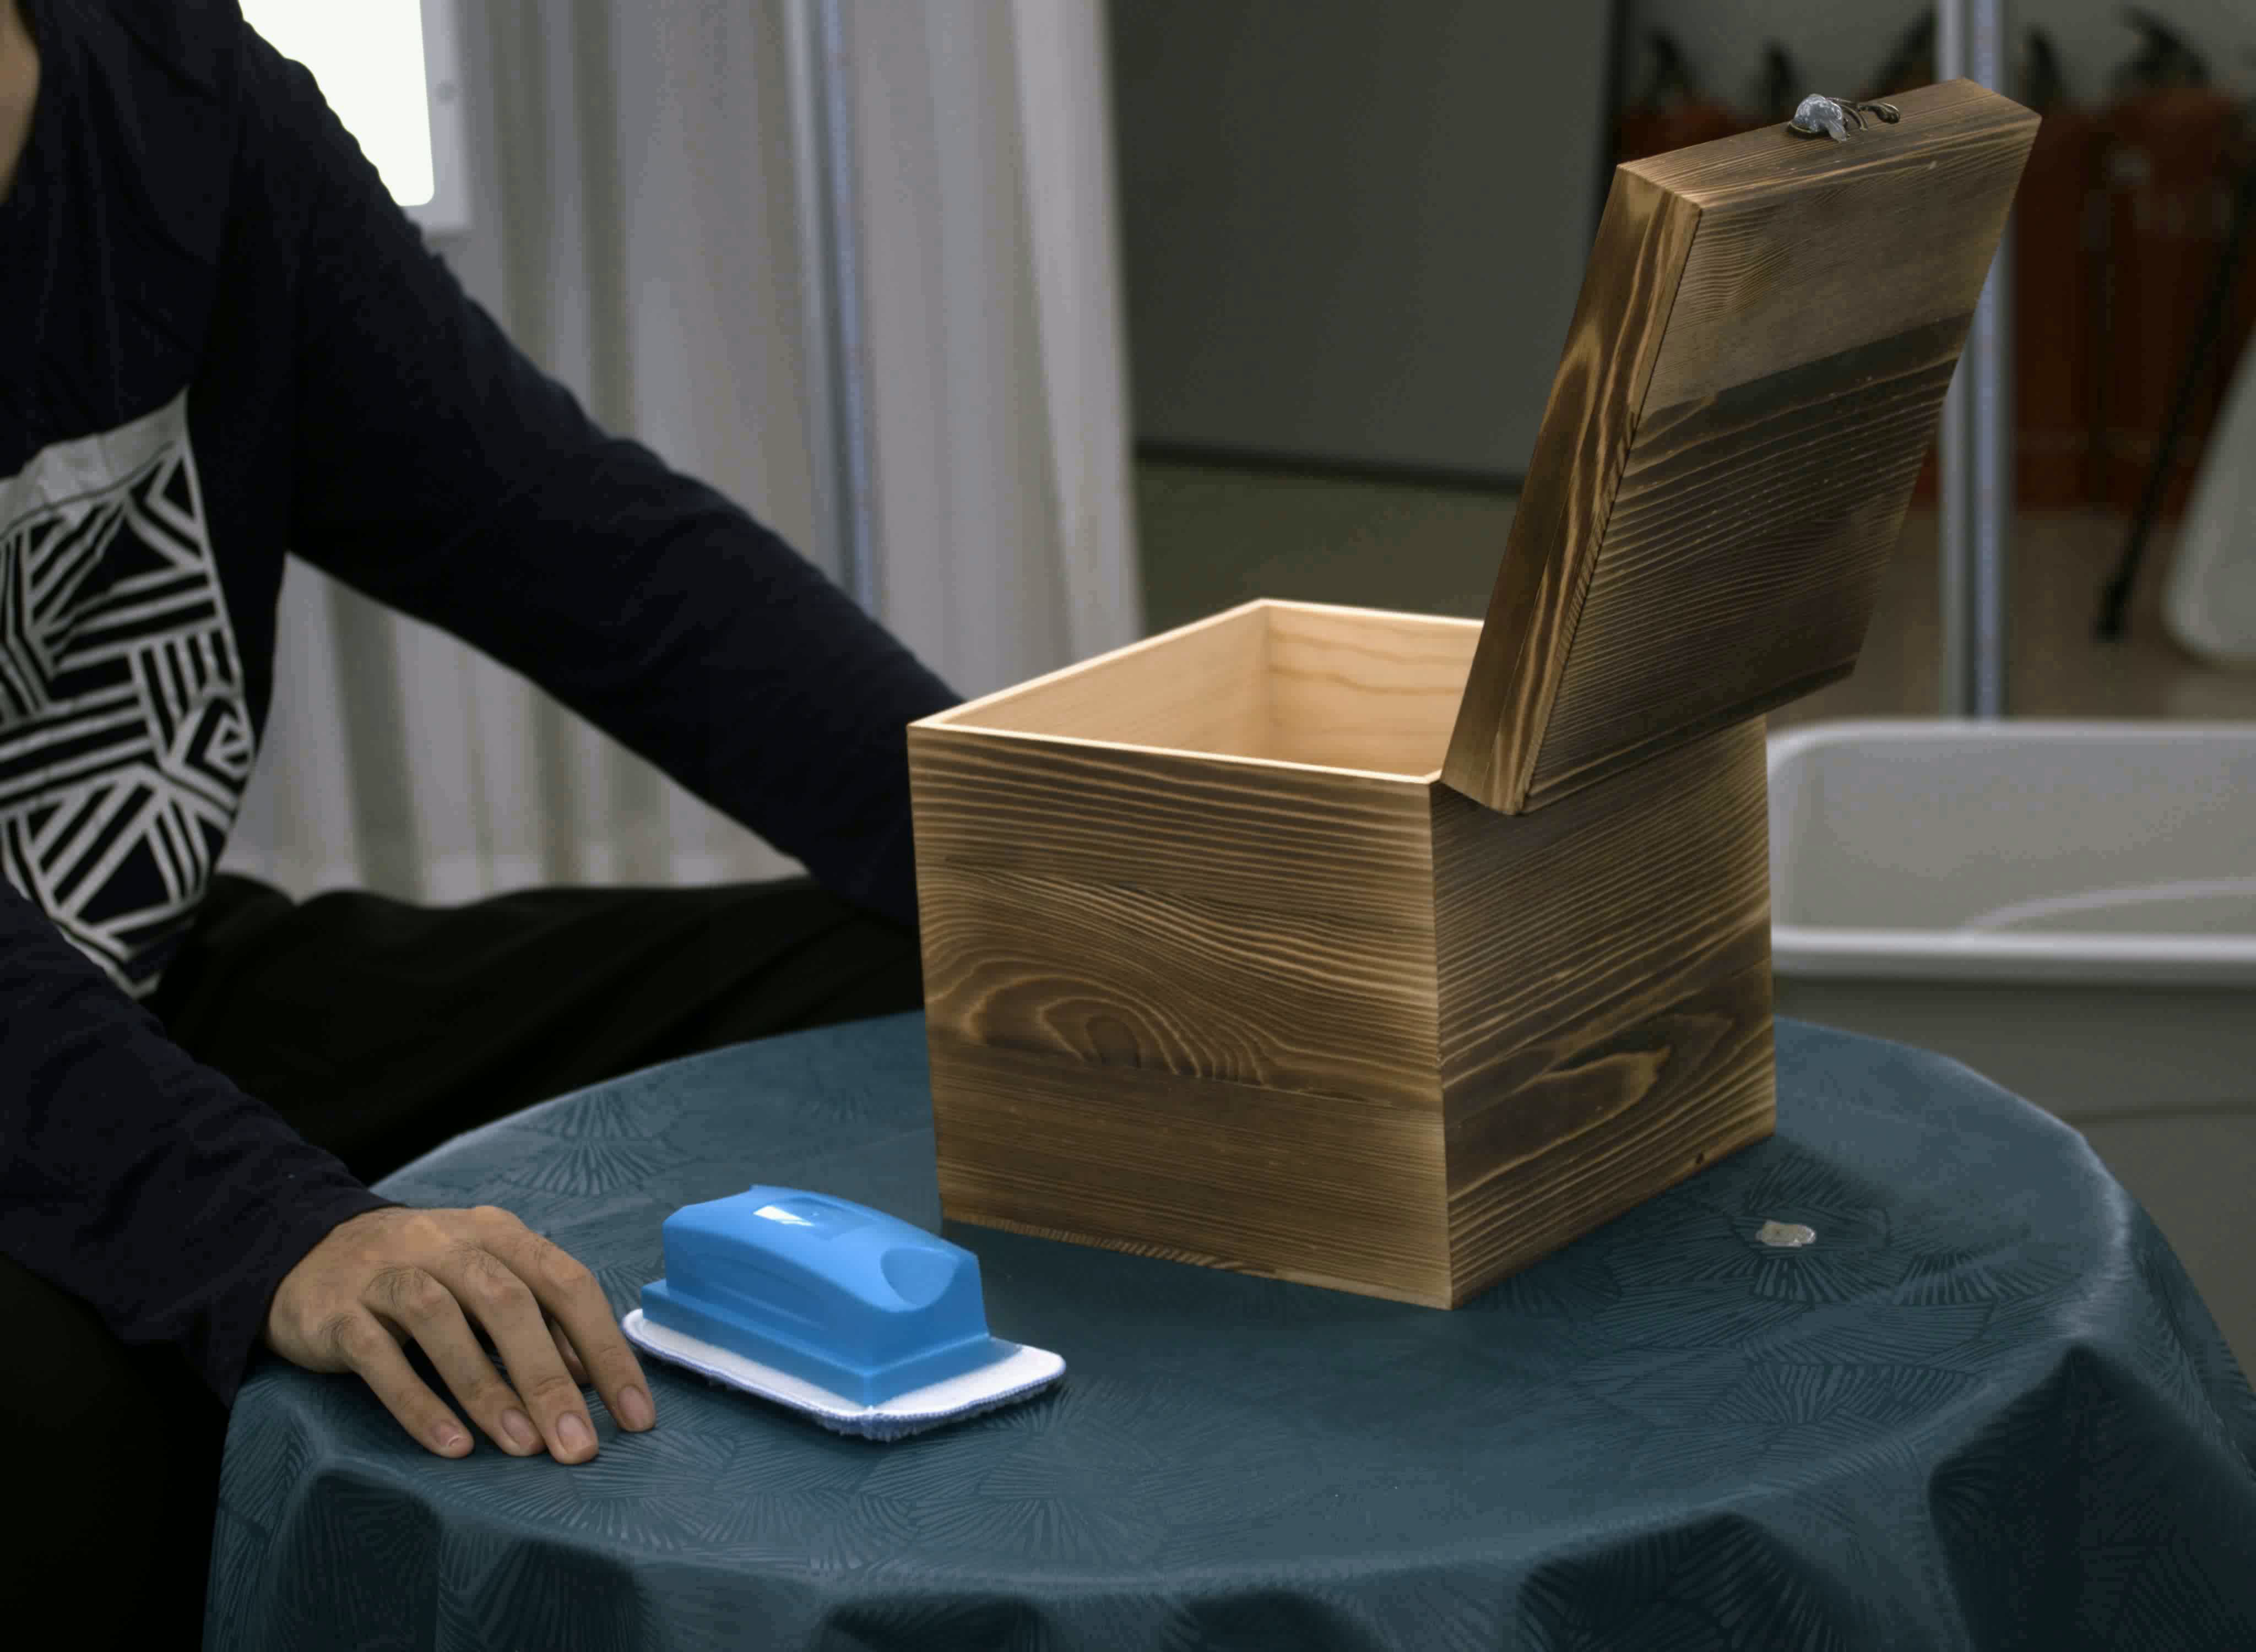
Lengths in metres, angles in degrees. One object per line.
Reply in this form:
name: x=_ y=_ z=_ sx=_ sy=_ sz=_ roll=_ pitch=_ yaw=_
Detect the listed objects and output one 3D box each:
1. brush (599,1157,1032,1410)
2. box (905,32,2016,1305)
brush: x=-0.094 y=0.135 z=1.619 sx=0.082 sy=0.056 sz=0.145 roll=-10 pitch=16 yaw=-34
box: x=0.108 y=-0.056 z=1.702 sx=0.324 sy=0.379 sz=0.205 roll=6 pitch=16 yaw=37
